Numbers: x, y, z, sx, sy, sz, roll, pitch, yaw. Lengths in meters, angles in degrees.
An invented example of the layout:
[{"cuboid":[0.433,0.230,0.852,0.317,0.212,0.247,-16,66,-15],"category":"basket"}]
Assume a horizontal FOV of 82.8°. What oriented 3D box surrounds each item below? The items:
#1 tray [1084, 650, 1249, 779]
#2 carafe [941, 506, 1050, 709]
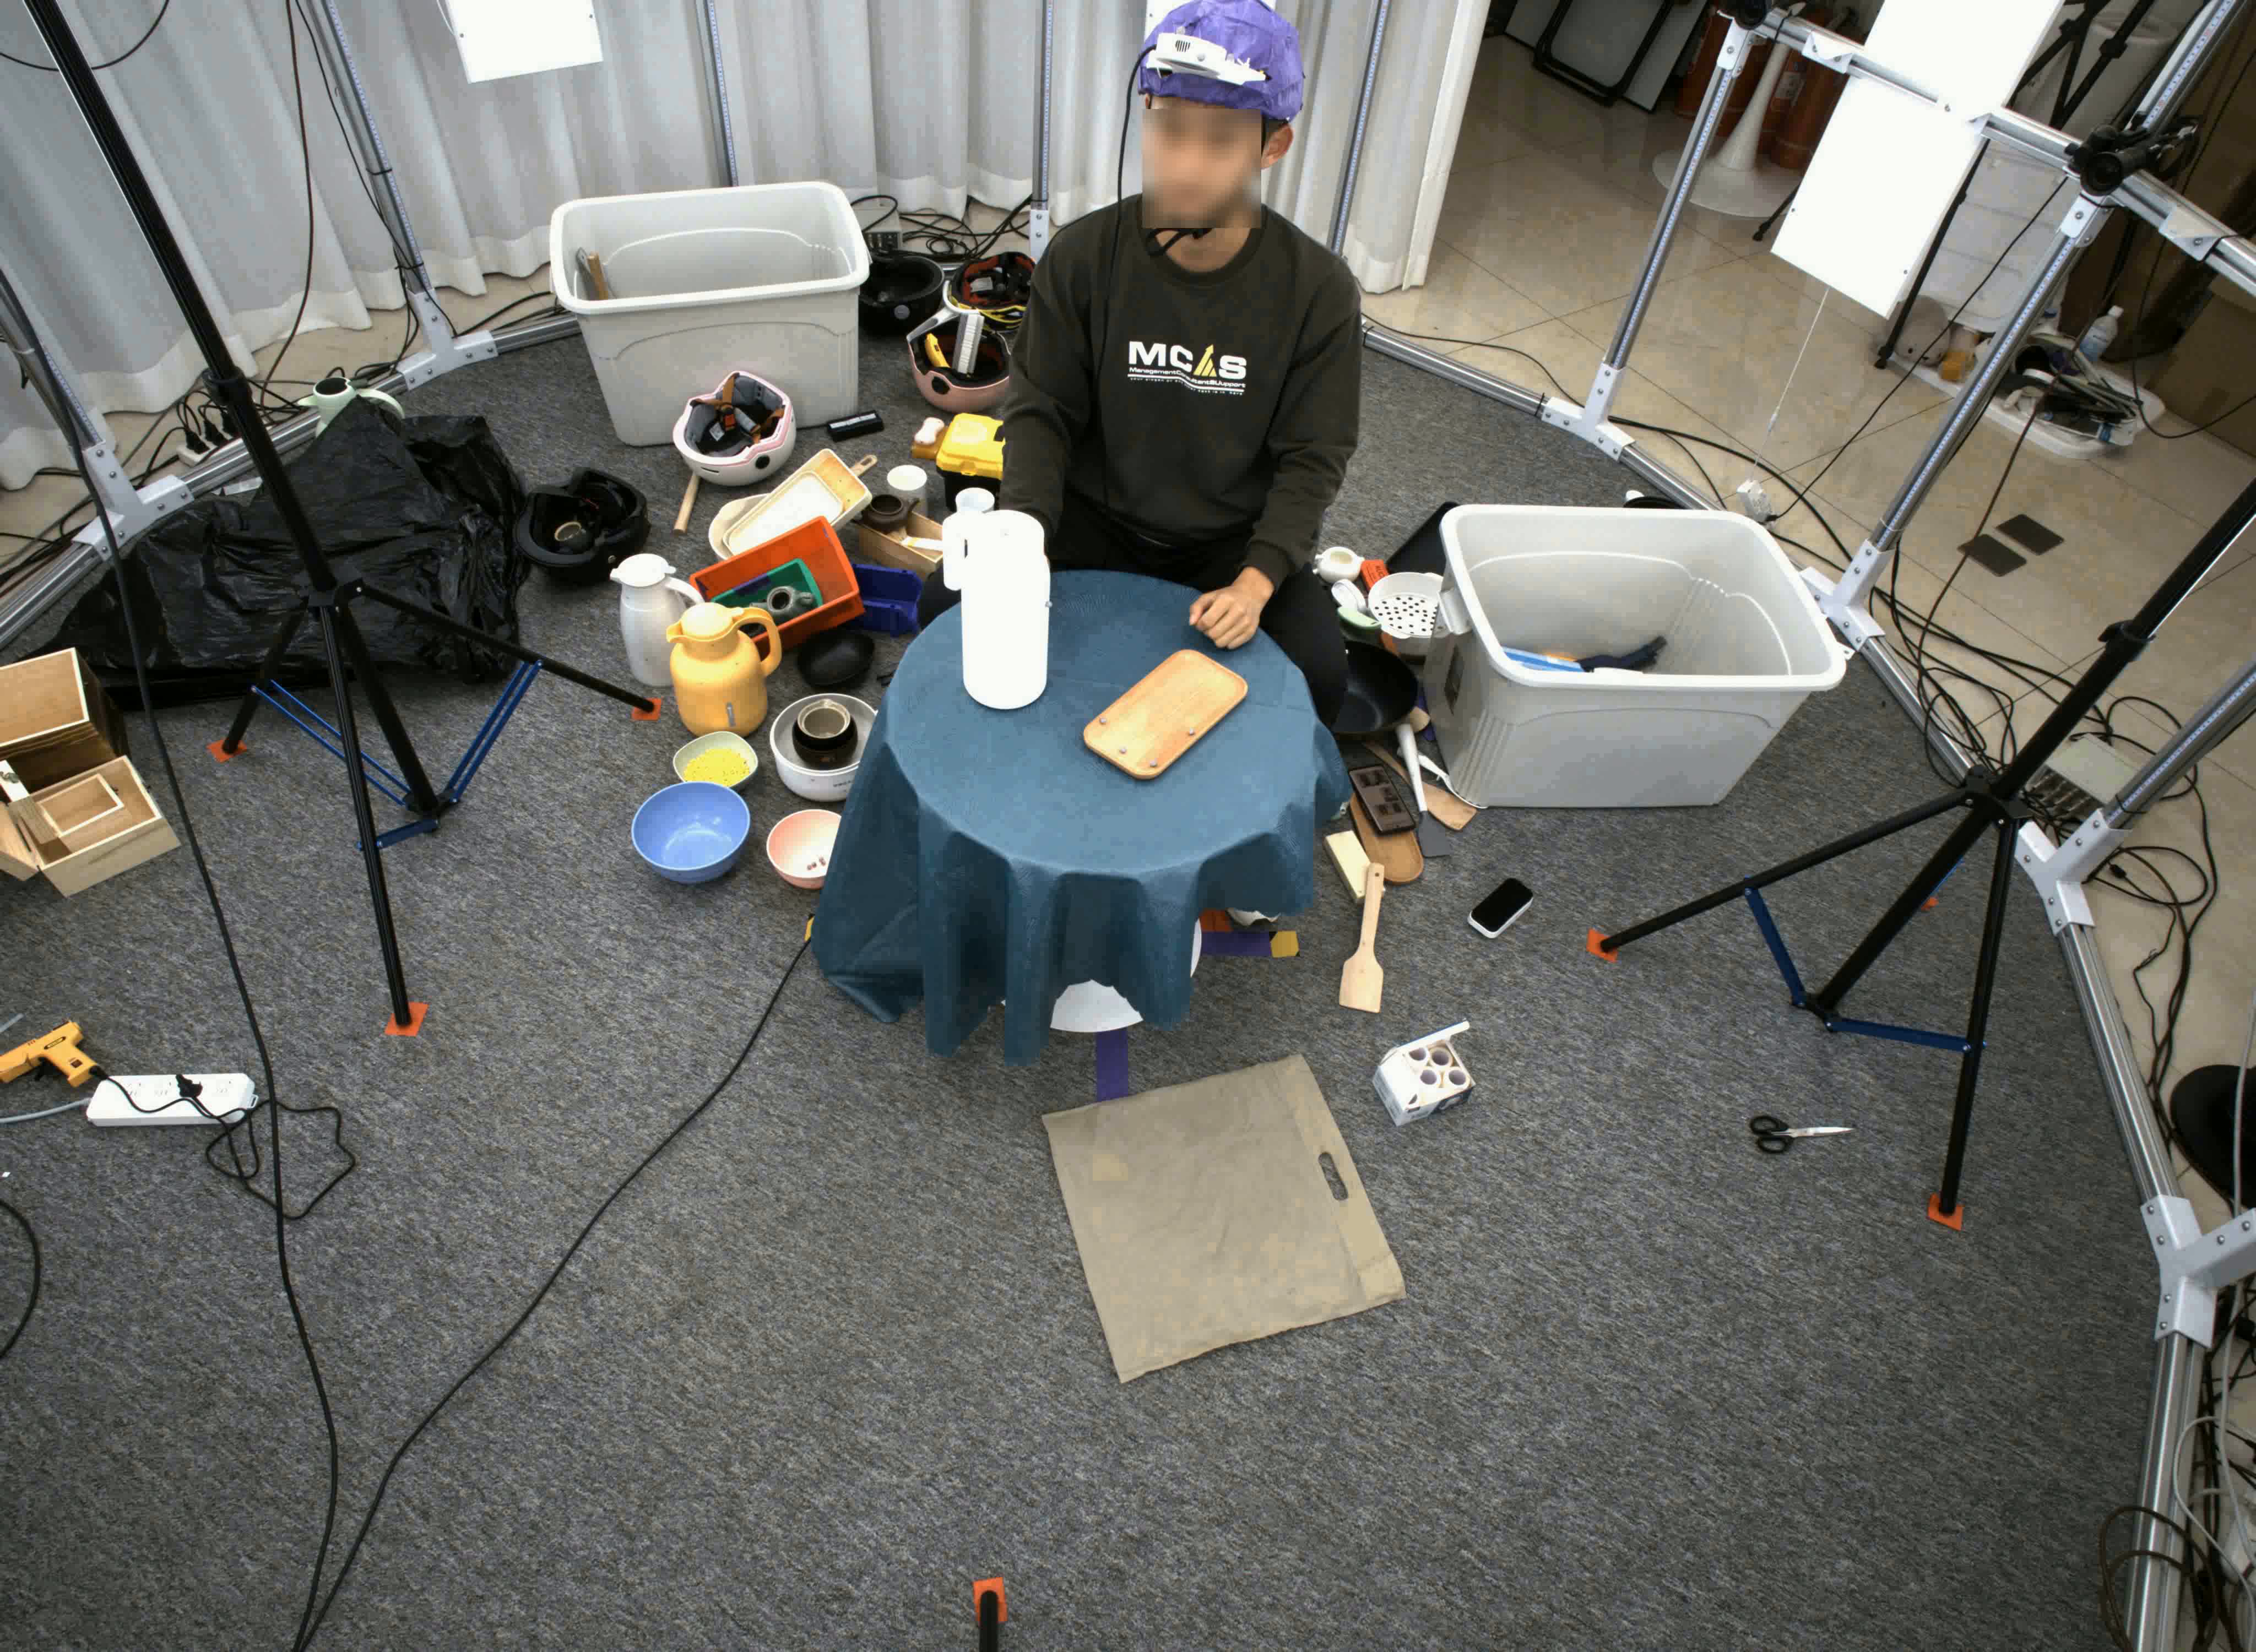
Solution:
[{"cuboid":[0.056,-0.159,1.797,0.132,0.022,0.253,35,54,21],"category":"tray"},{"cuboid":[-0.180,-0.297,1.738,0.175,0.262,0.125,34,56,23],"category":"carafe"}]
